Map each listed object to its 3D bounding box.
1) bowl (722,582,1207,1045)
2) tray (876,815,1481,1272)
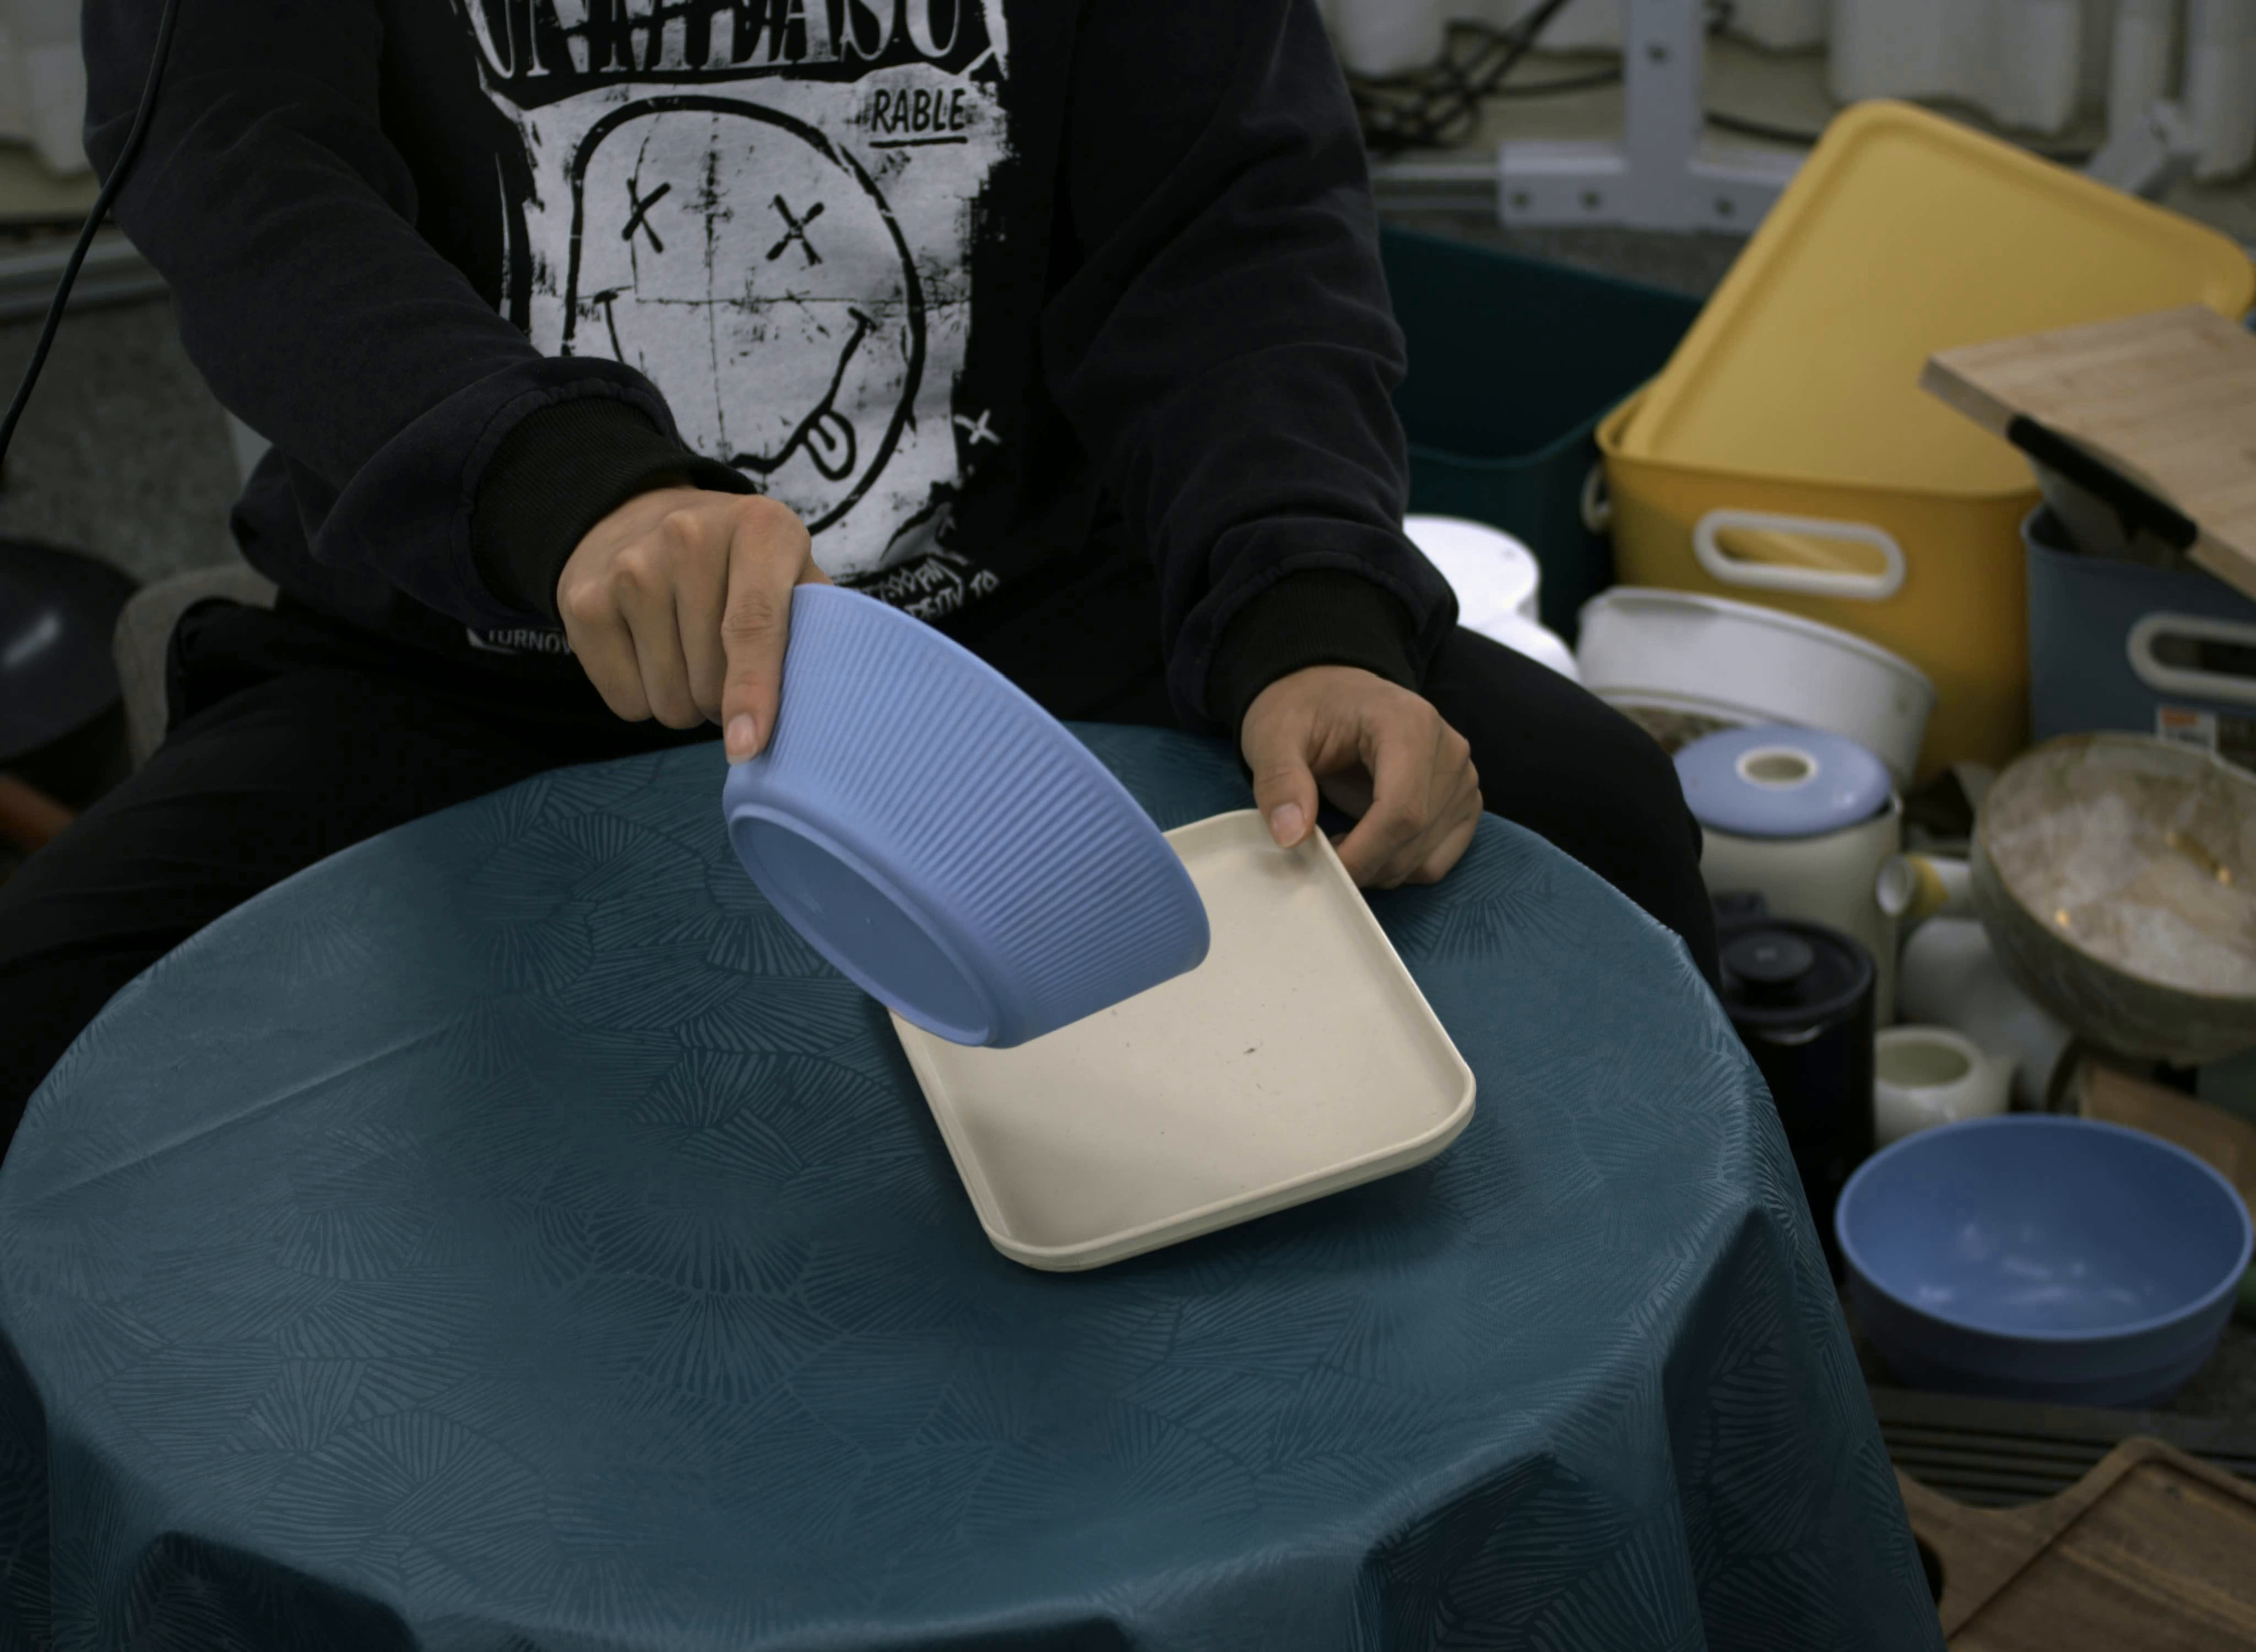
[{"bbox_3d":[-0.063,0.007,1.769,0.176,0.174,0.071,24,65,41],"label":"bowl"},{"bbox_3d":[0.013,0.073,1.913,0.171,0.017,0.242,-16,29,-8],"label":"tray"}]
